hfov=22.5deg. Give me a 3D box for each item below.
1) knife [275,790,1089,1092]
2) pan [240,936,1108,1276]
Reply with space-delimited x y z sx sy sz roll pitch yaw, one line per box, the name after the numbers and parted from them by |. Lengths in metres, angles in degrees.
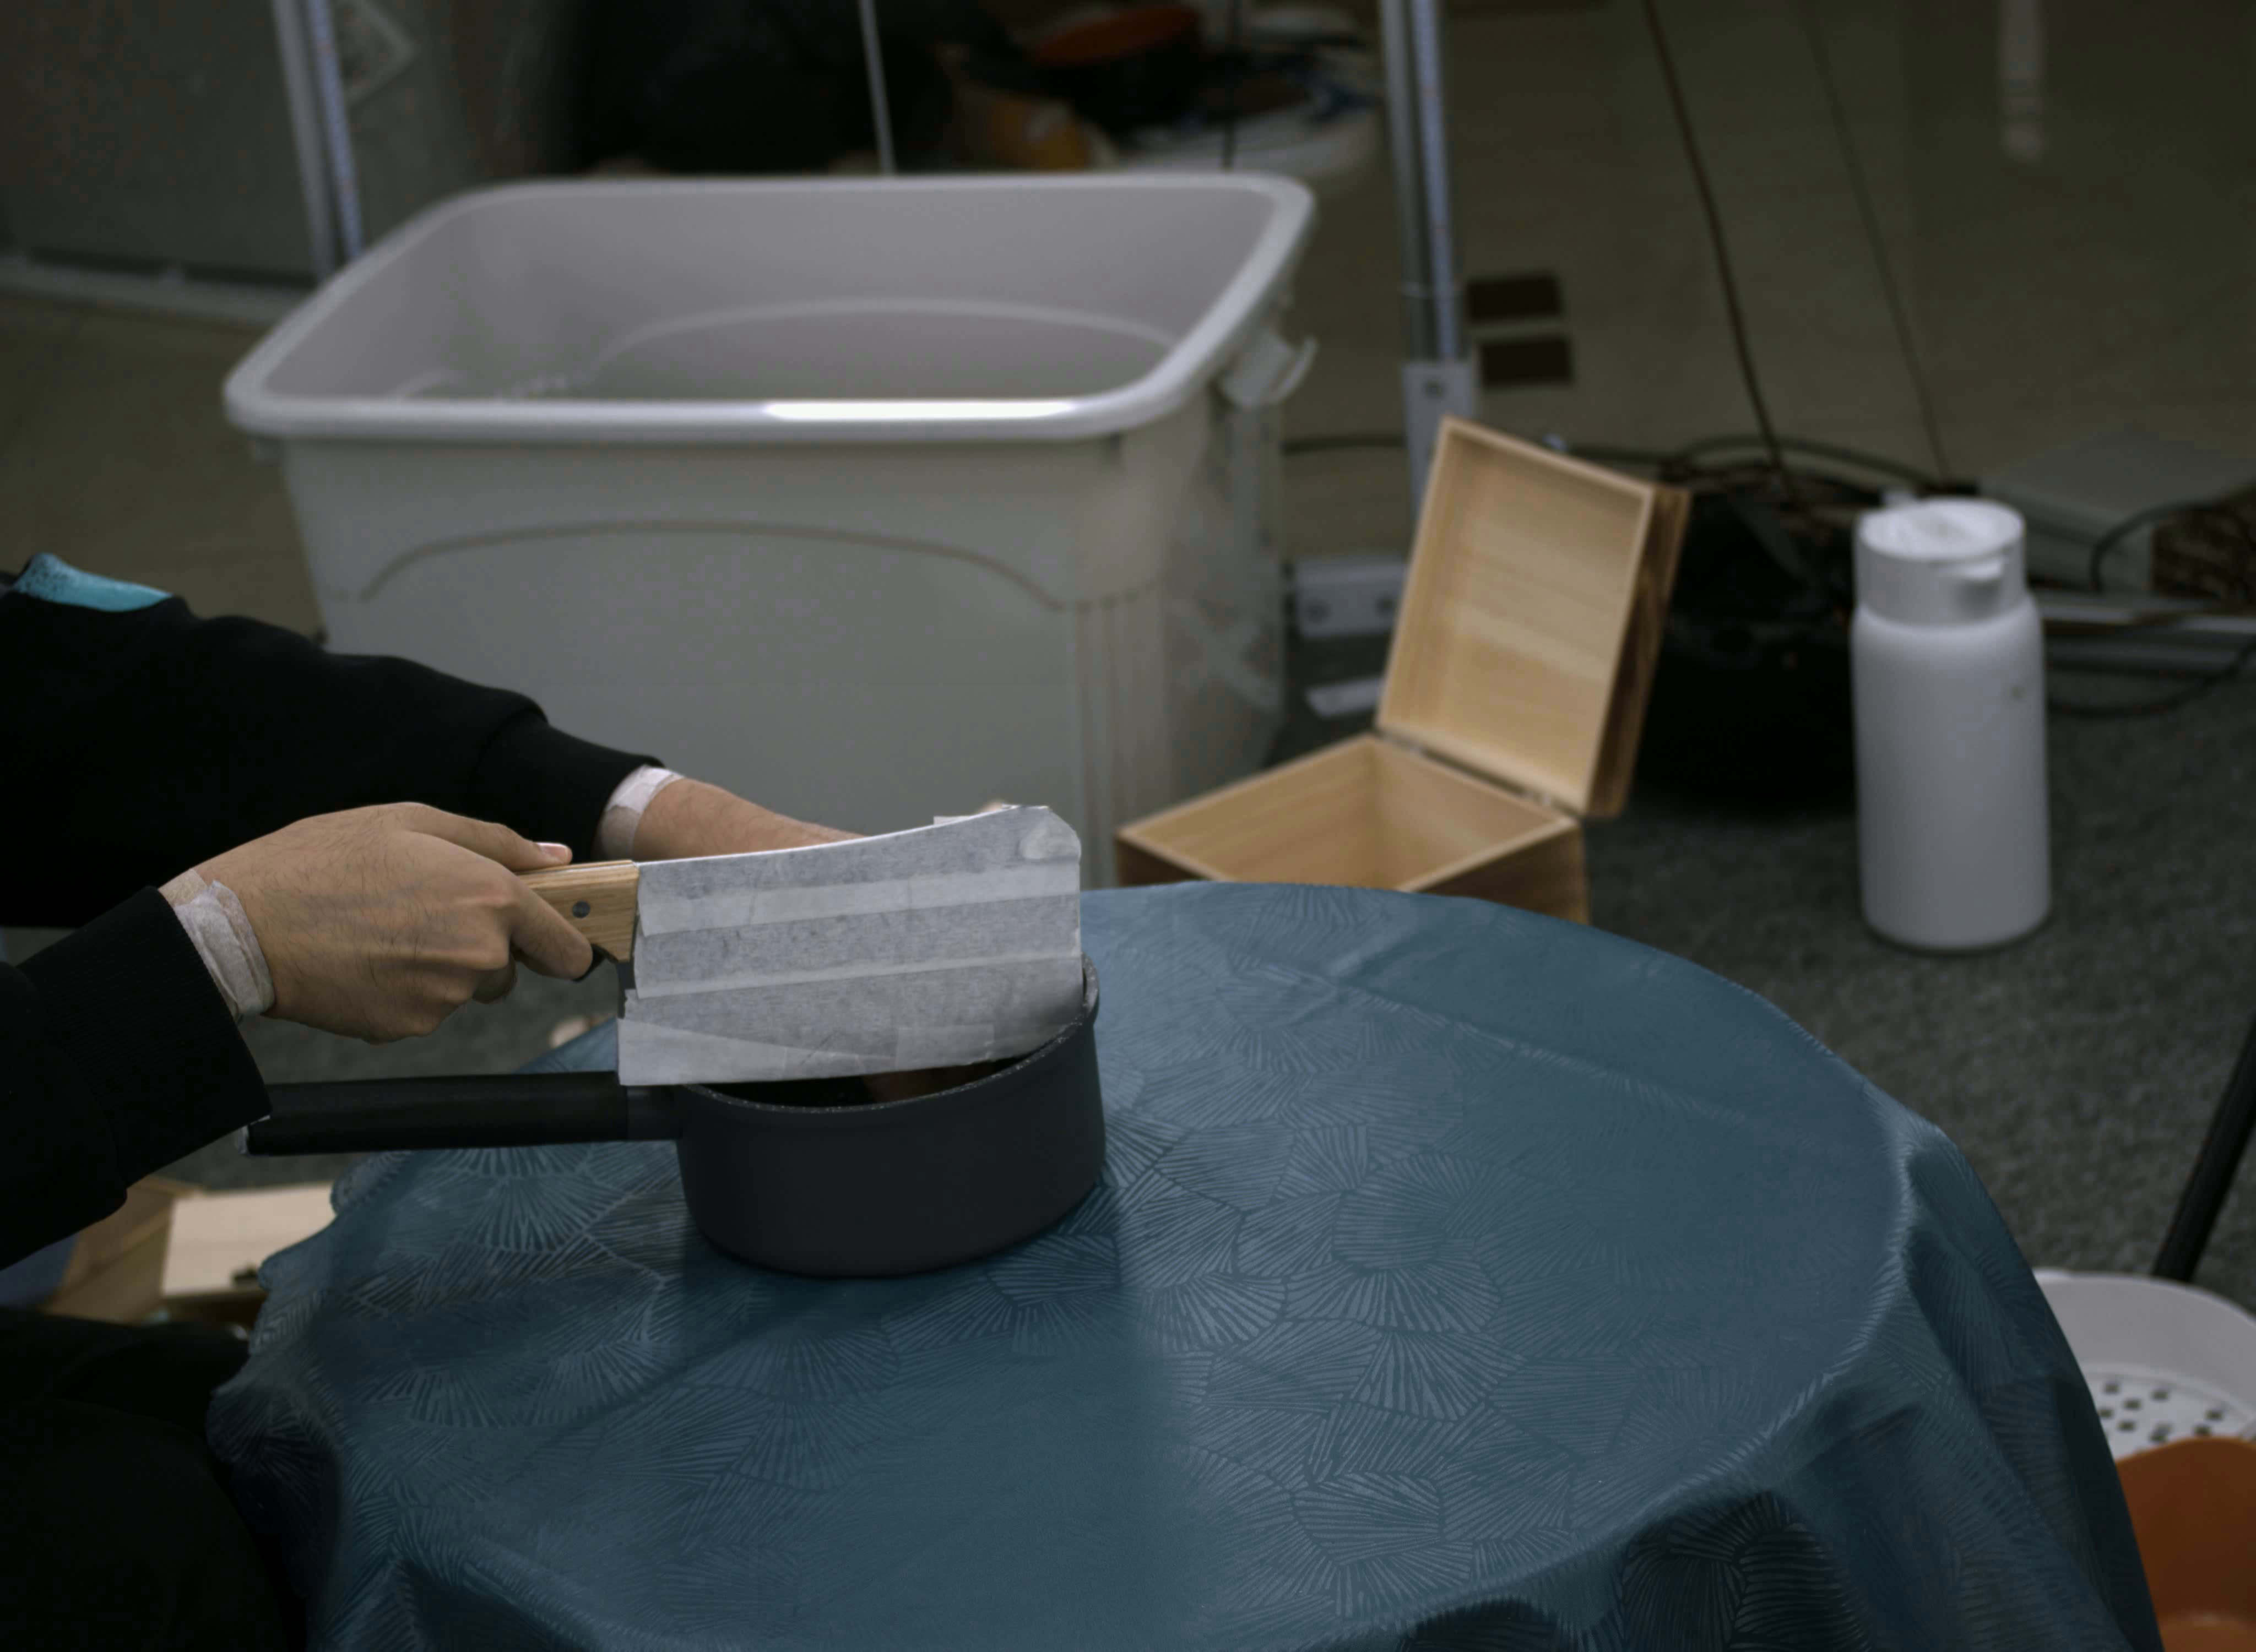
-0.158 0.043 2.081 0.315 0.115 0.021 -1 18 -22 | knife
-0.169 0.111 2.148 0.328 0.088 0.169 -9 23 -6 | pan
